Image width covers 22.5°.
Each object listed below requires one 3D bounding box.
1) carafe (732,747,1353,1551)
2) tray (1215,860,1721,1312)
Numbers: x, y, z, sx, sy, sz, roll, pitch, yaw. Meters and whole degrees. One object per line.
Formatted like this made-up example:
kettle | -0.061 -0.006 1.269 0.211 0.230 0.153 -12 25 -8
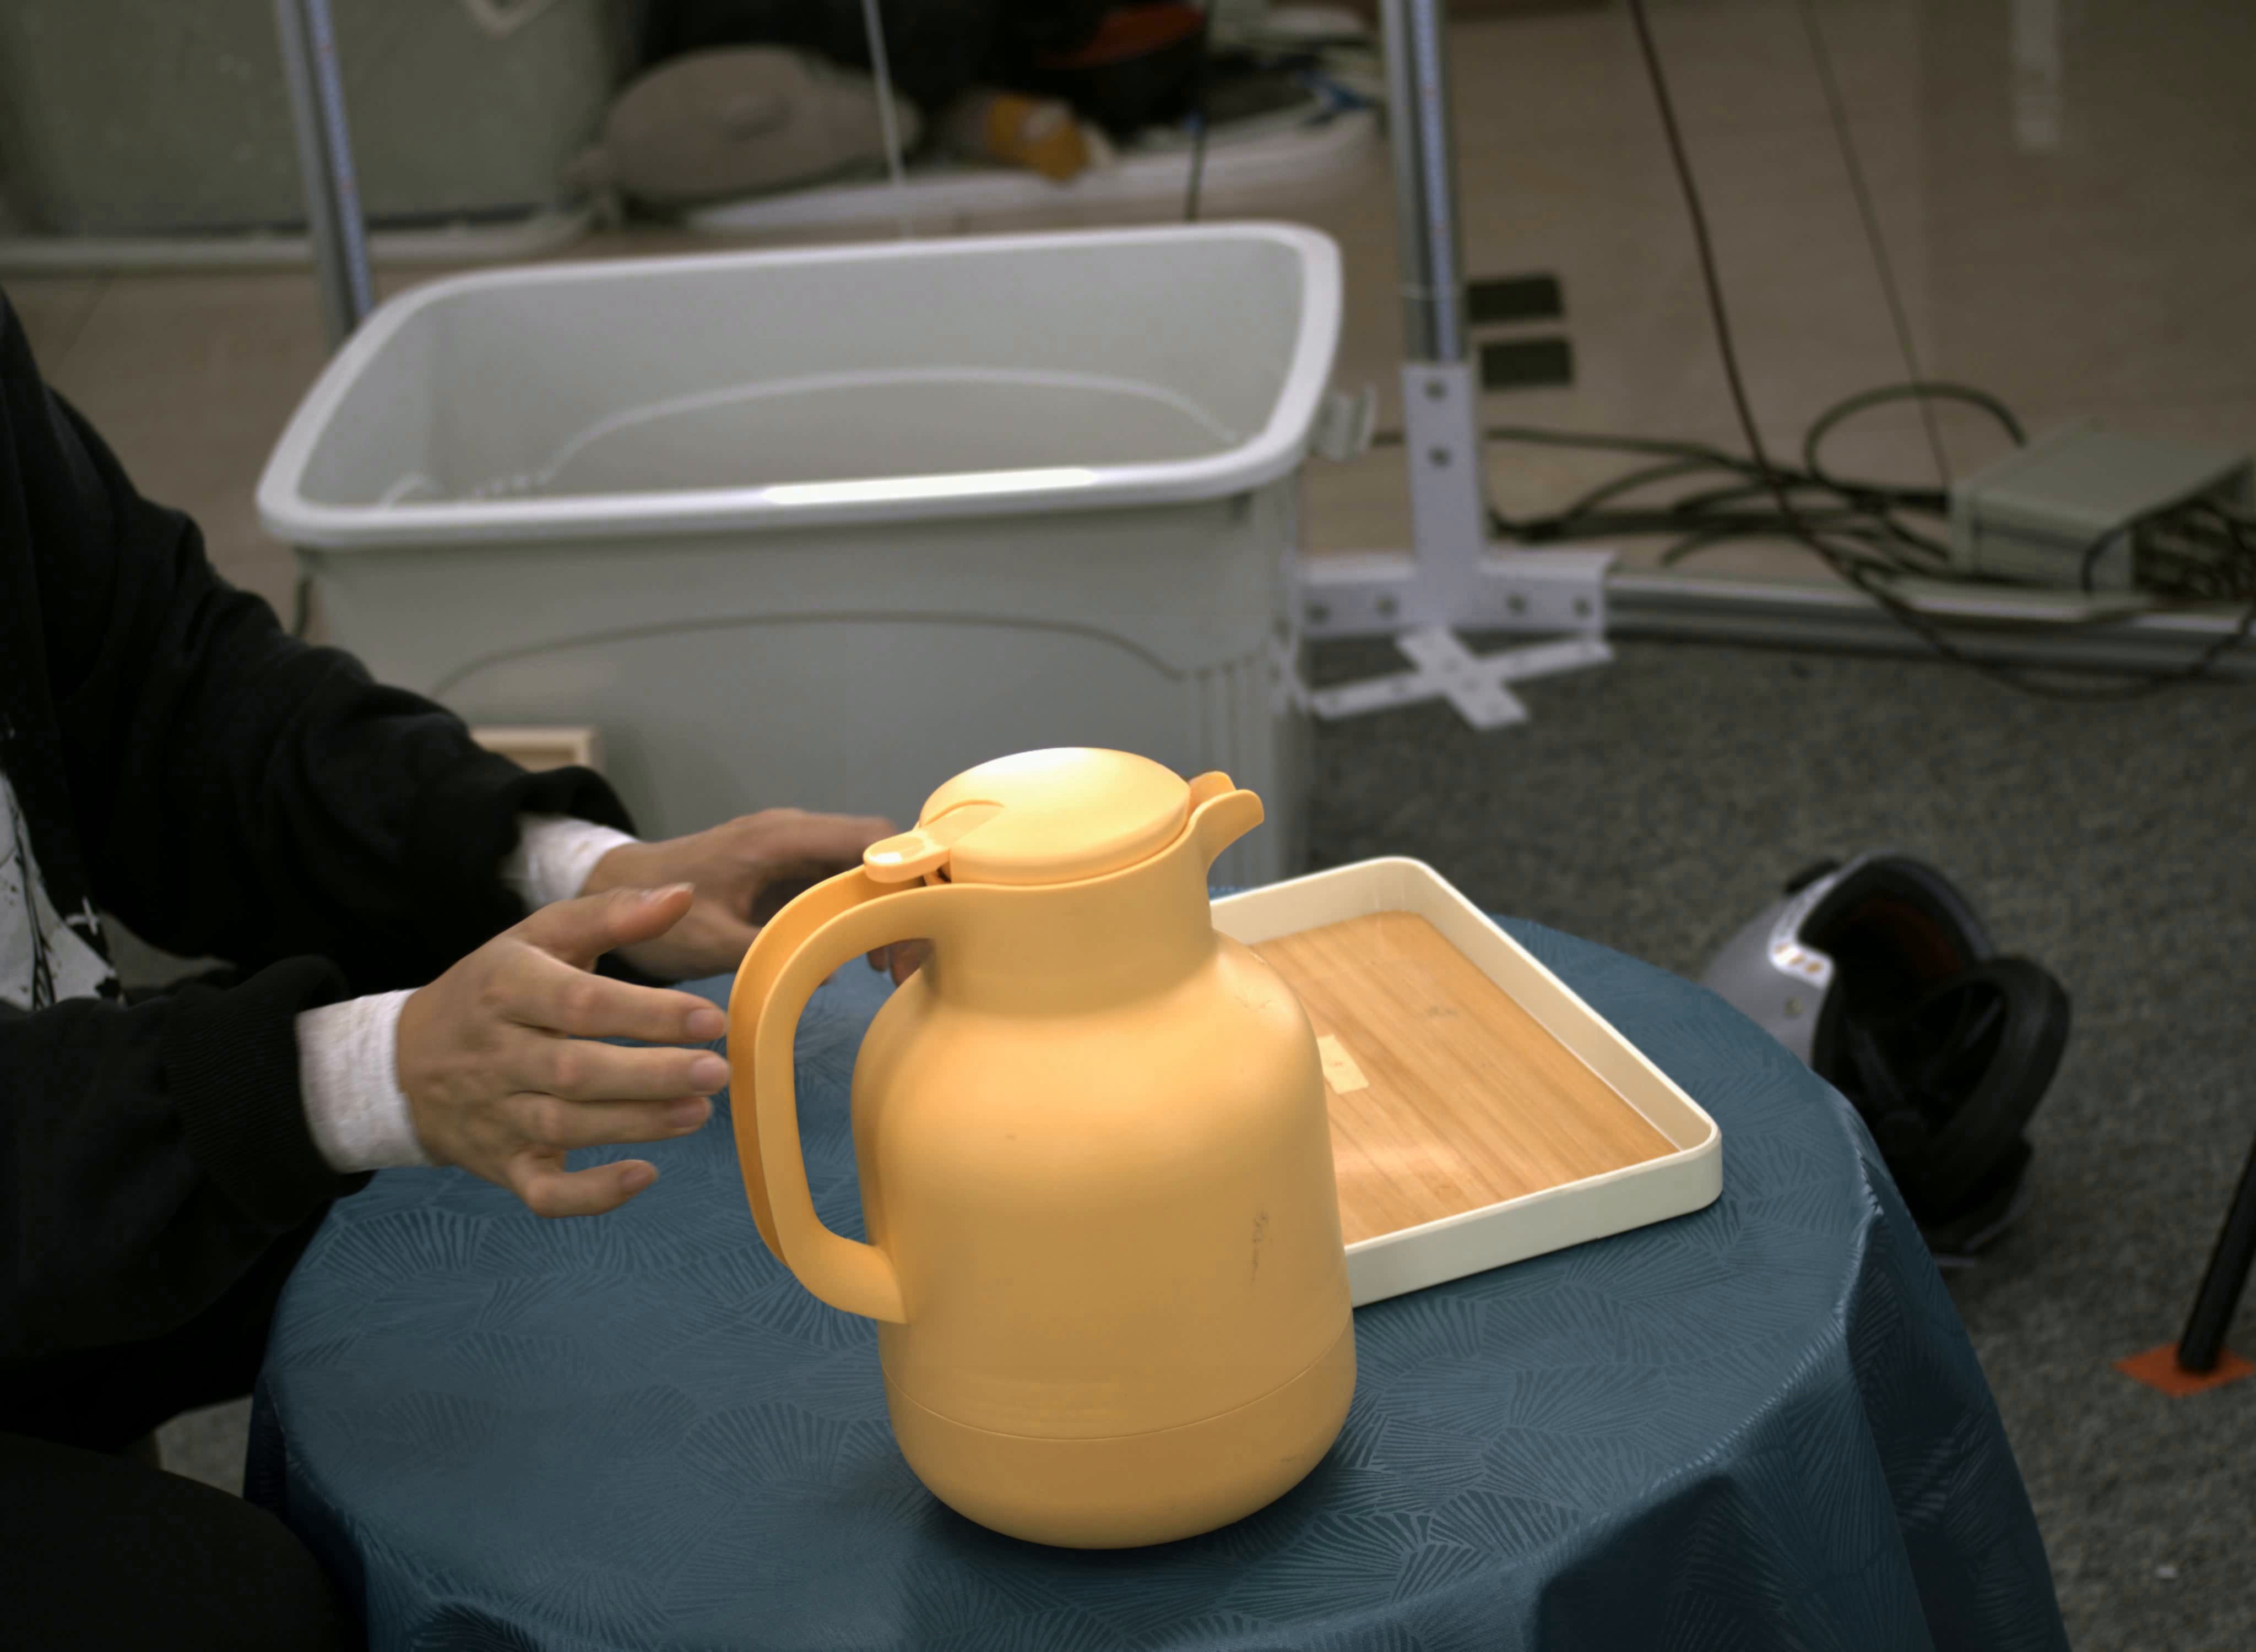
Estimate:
carafe | -0.031 0.109 1.911 0.201 0.264 0.161 -15 24 -19
tray | 0.084 0.097 2.188 0.191 0.028 0.296 -14 26 -16
